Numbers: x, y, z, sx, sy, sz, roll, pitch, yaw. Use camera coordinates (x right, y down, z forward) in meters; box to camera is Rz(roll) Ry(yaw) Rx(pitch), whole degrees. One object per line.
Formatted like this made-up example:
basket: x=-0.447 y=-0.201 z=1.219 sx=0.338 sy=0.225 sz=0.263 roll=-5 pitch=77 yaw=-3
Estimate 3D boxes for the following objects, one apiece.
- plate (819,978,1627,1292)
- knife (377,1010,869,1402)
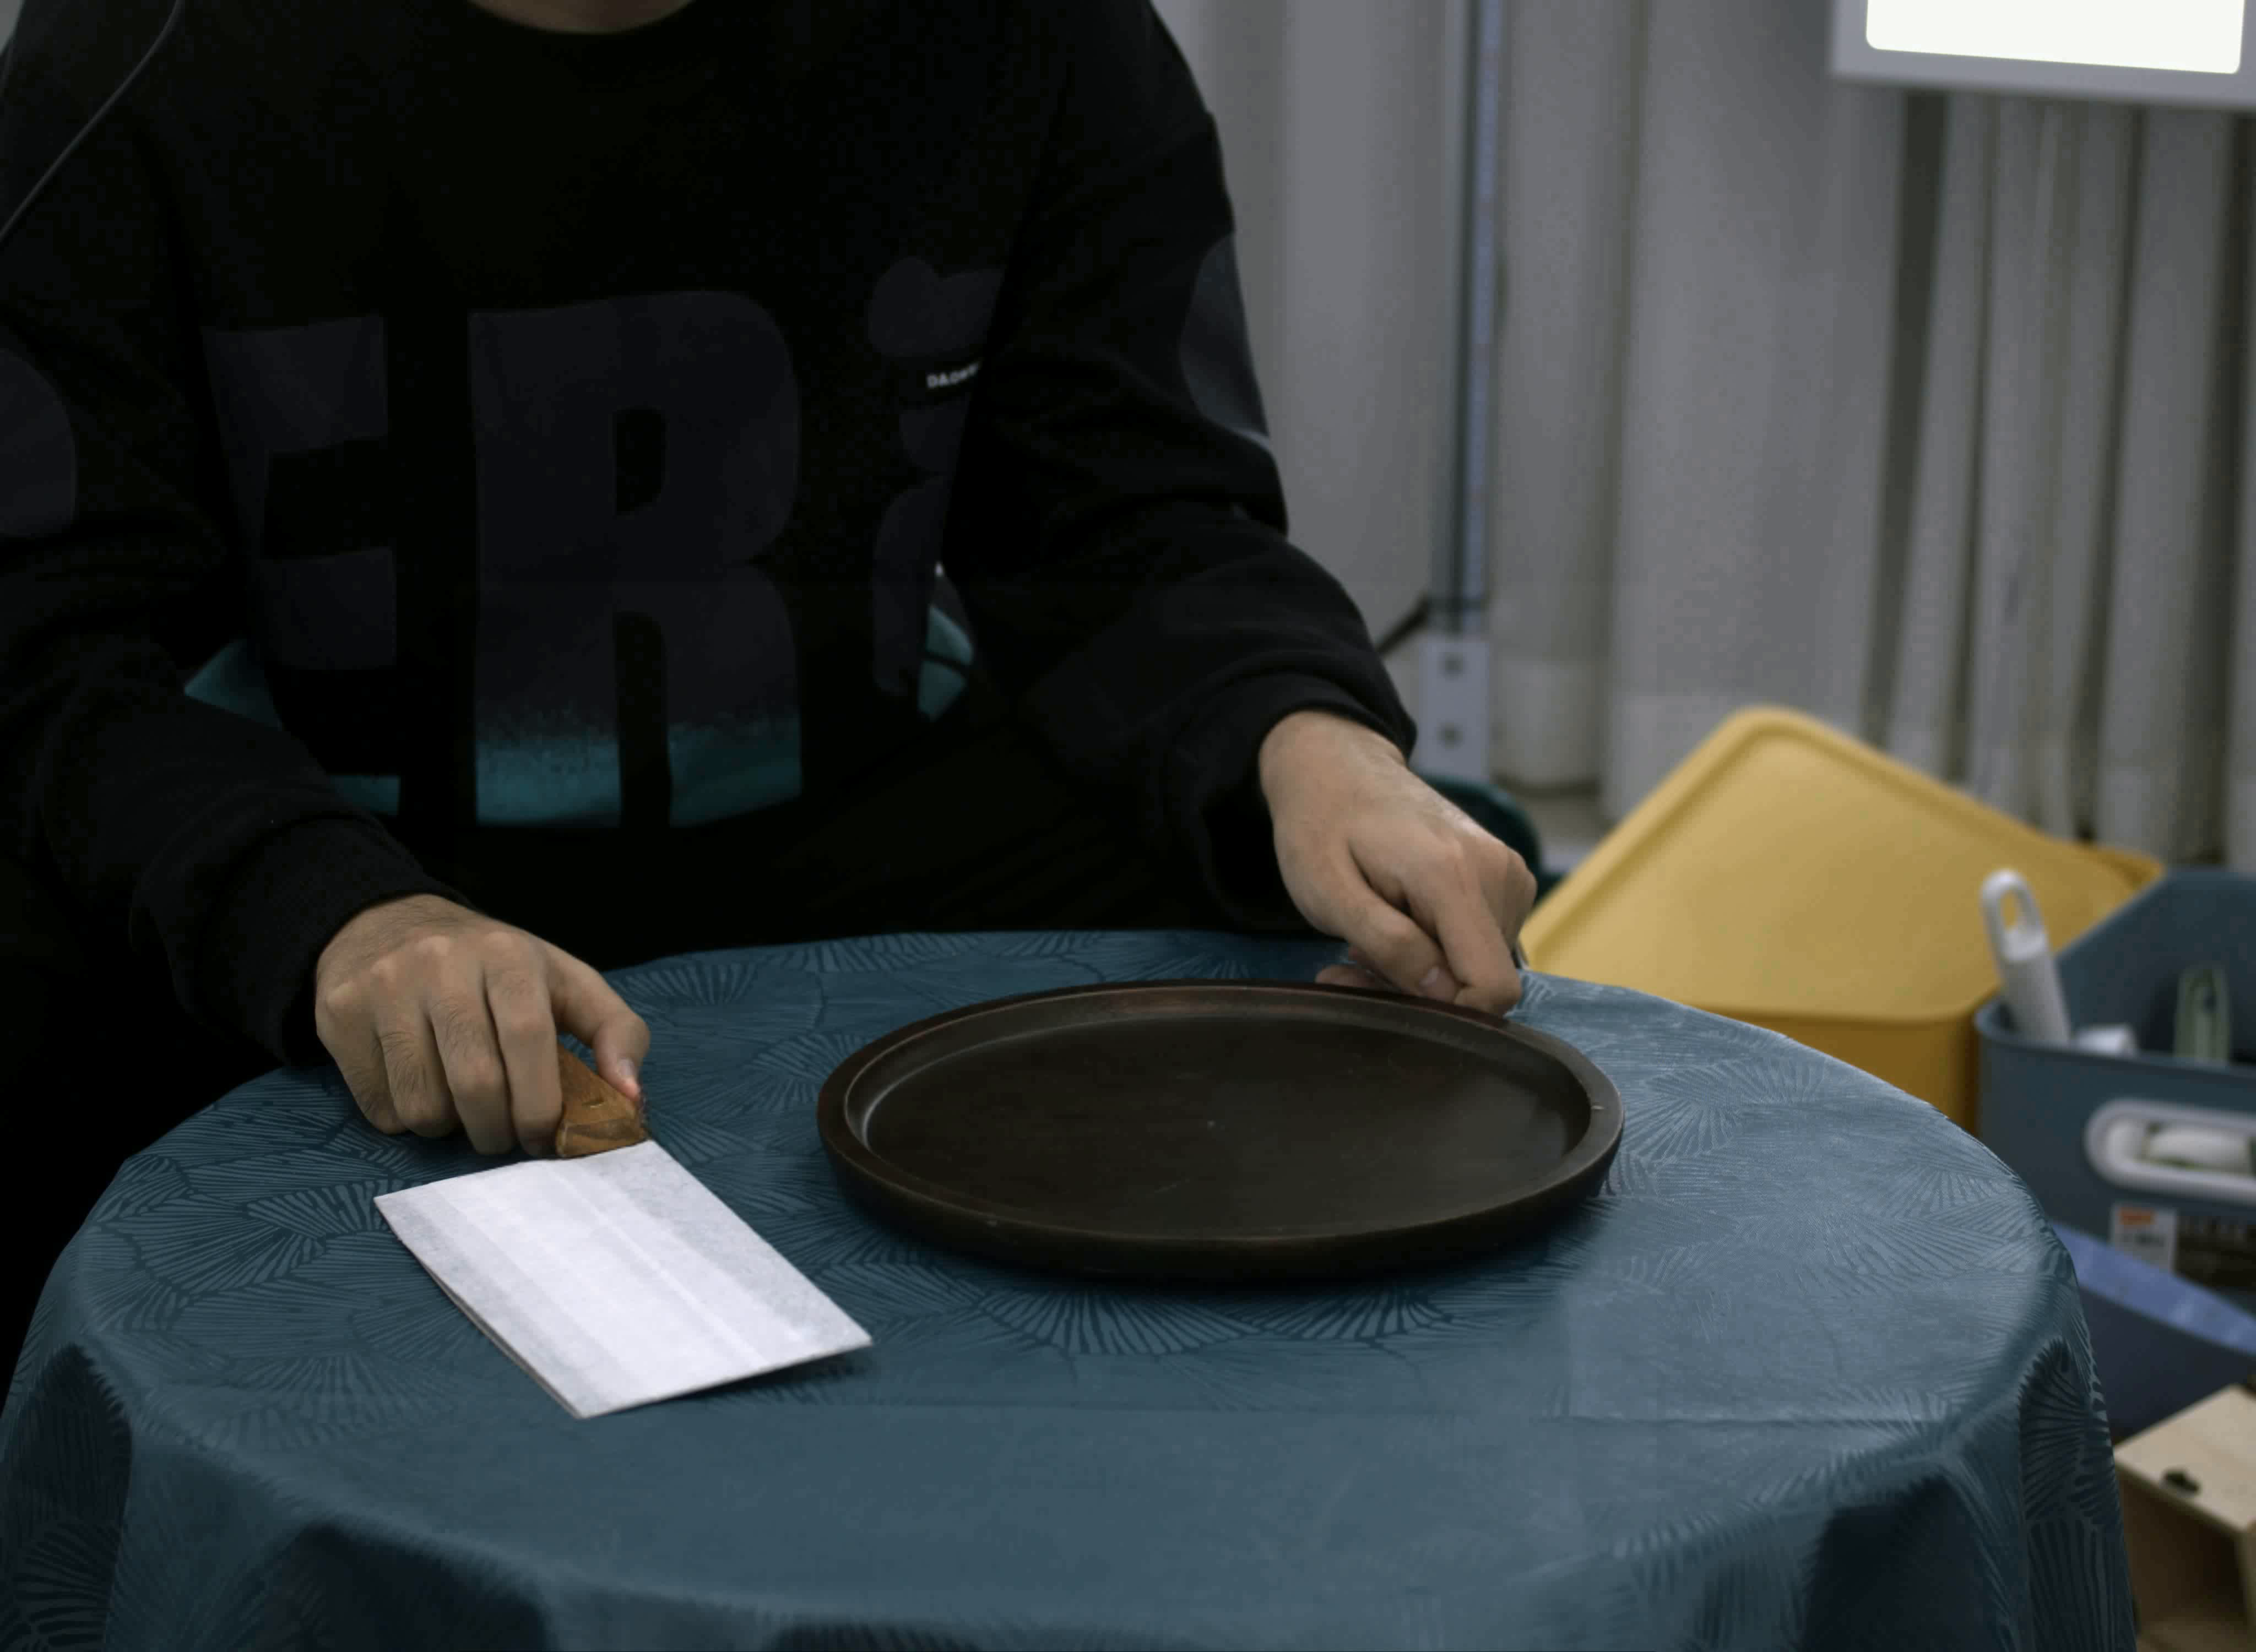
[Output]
plate: x=0.030 y=0.094 z=1.643 sx=0.254 sy=0.029 sz=0.253 roll=2 pitch=15 yaw=0
knife: x=-0.173 y=0.114 z=1.587 sx=0.093 sy=0.021 sz=0.302 roll=-13 pitch=20 yaw=-22
